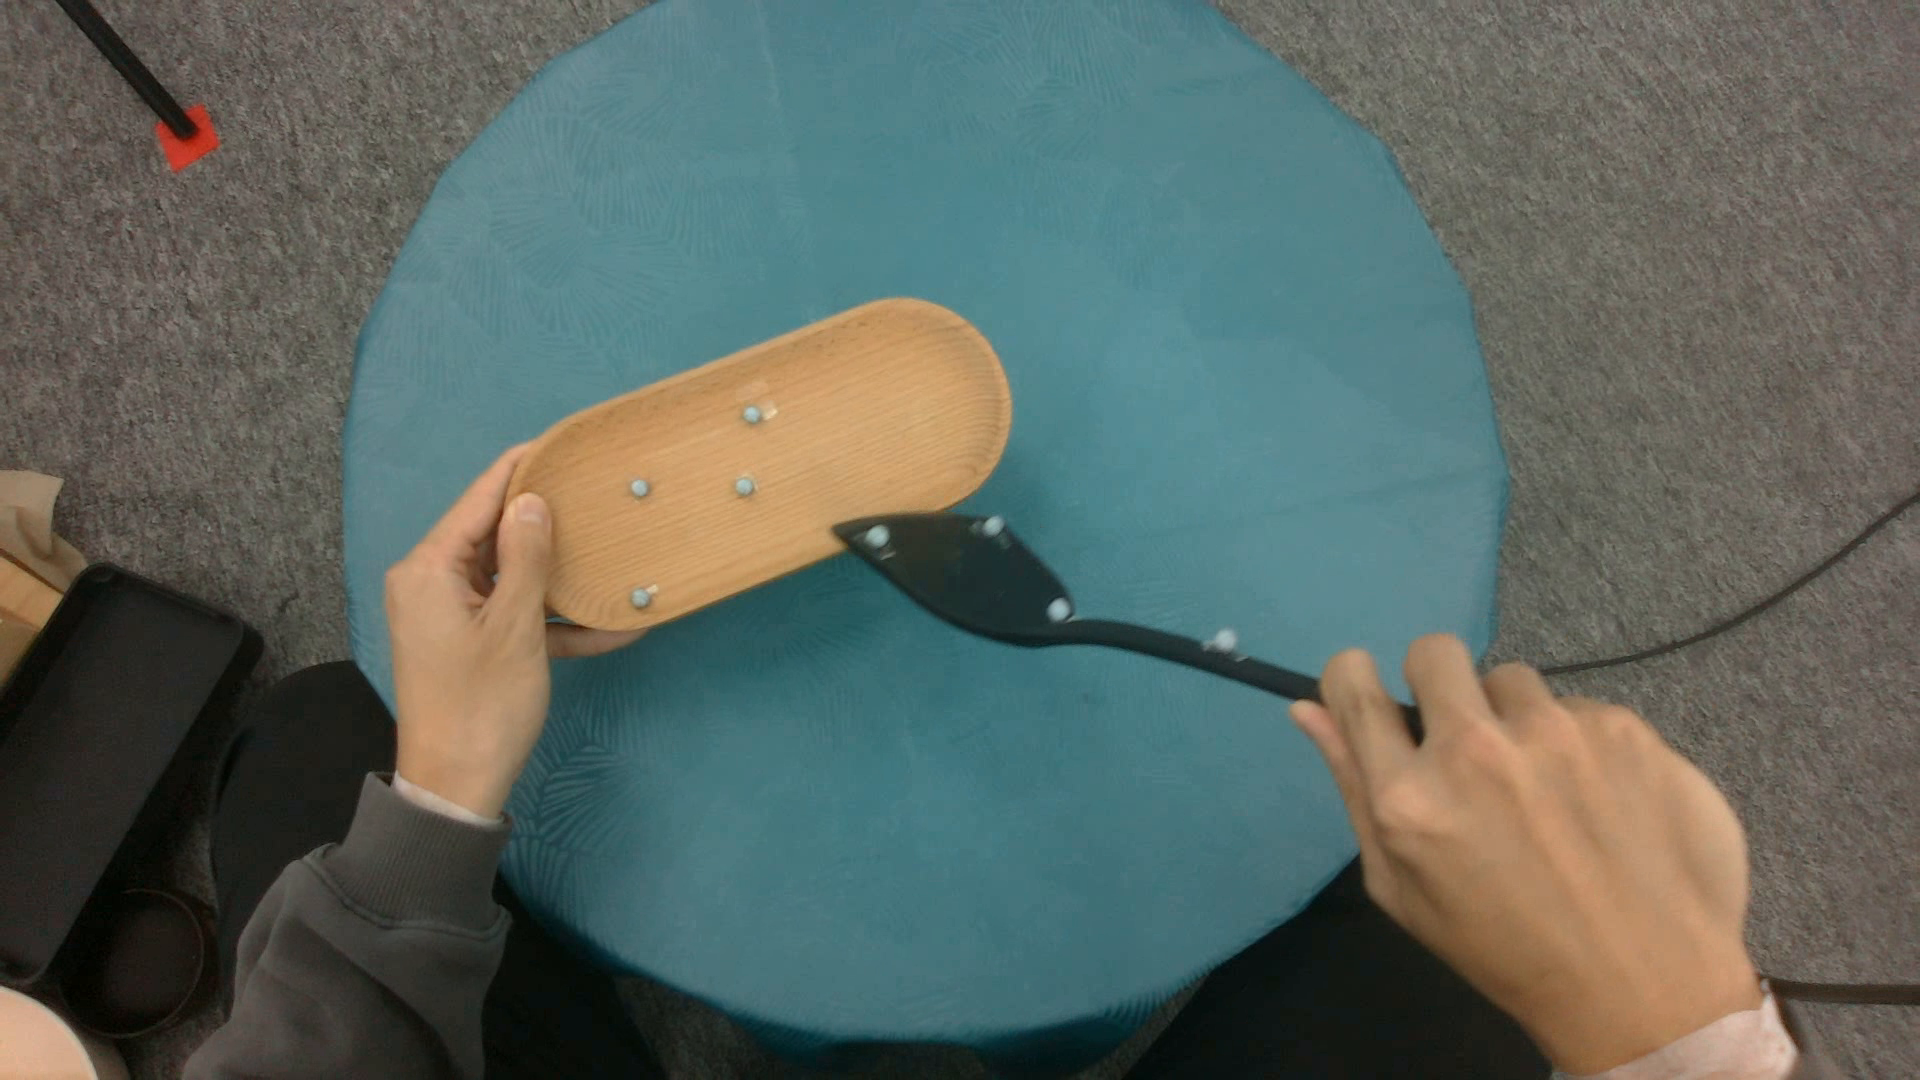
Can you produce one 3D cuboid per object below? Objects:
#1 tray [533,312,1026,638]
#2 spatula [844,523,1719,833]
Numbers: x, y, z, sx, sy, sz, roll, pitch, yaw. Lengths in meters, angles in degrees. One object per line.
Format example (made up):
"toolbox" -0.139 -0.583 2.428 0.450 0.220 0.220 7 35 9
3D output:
"tray" -0.080 -0.030 0.631 0.231 0.020 0.102 -22 84 -7
"spatula" 0.099 0.041 0.501 0.325 0.100 0.040 13 103 39
